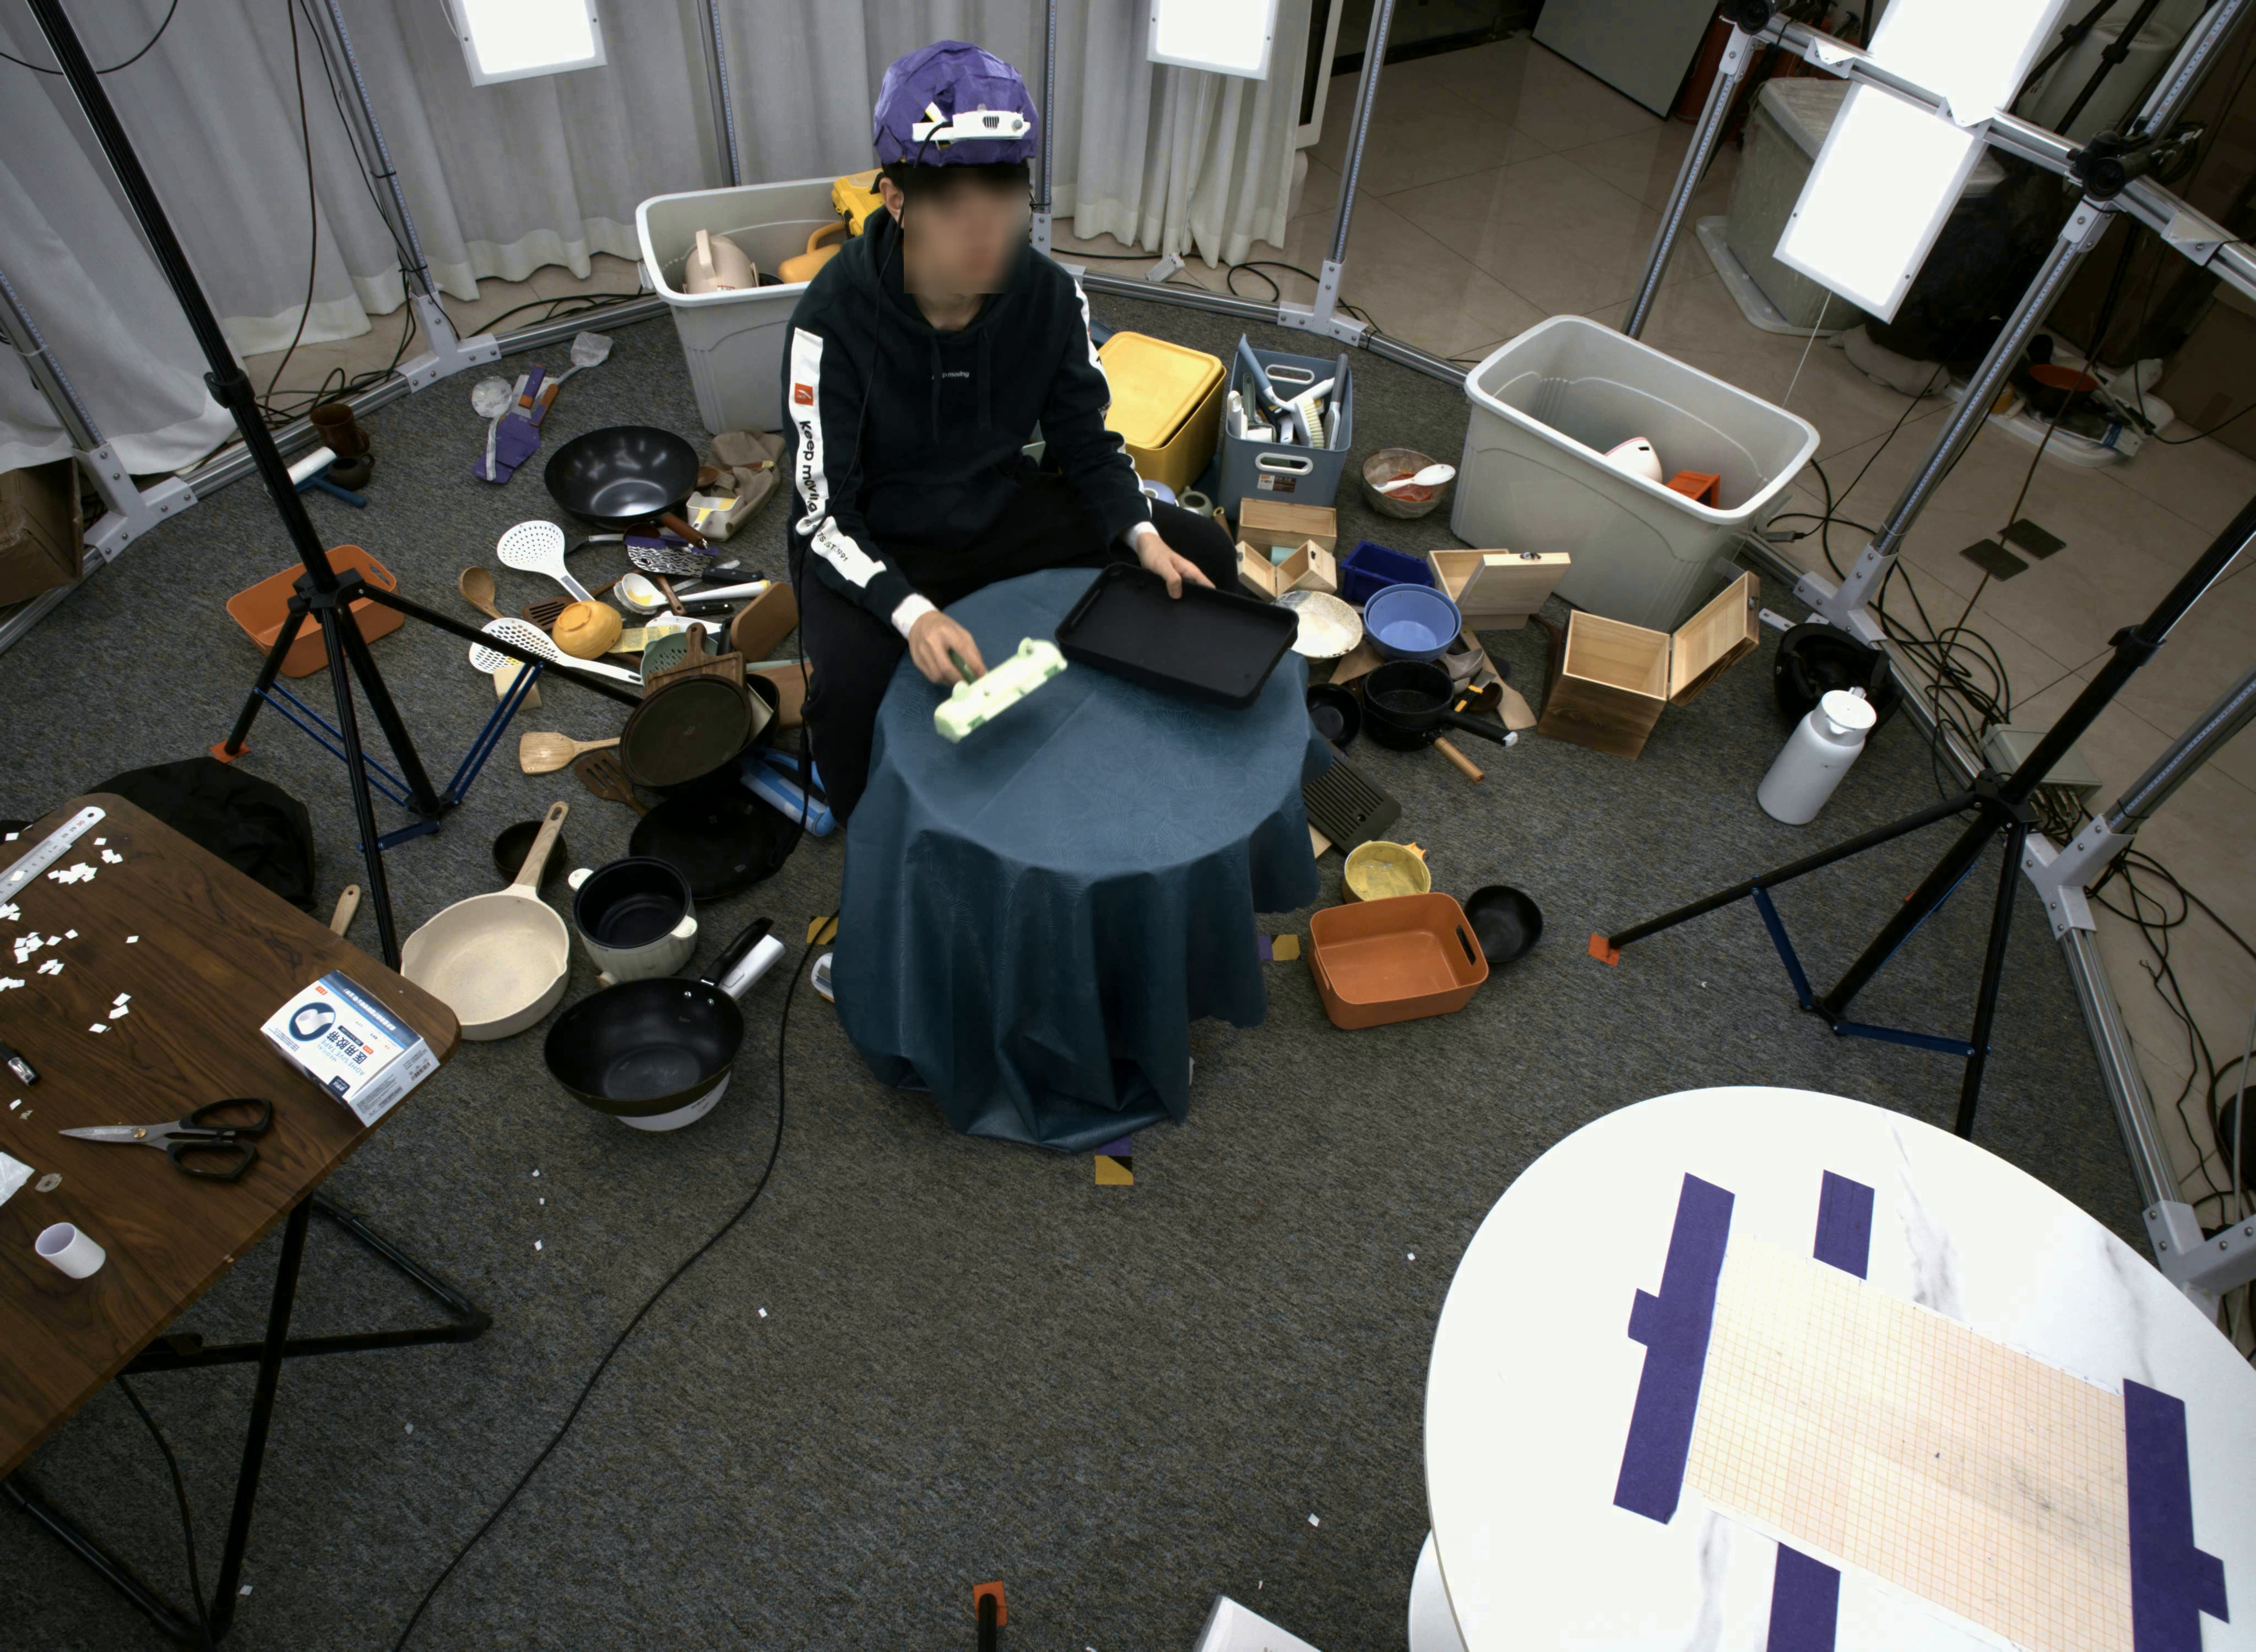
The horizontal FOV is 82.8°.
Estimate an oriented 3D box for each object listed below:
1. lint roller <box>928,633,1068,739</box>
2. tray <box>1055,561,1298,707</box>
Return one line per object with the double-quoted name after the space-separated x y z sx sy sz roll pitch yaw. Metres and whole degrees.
-0.209 -0.223 1.736 0.186 0.080 0.200 38 60 25 "lint roller"
0.069 -0.279 1.843 0.321 0.036 0.187 20 56 26 "tray"
